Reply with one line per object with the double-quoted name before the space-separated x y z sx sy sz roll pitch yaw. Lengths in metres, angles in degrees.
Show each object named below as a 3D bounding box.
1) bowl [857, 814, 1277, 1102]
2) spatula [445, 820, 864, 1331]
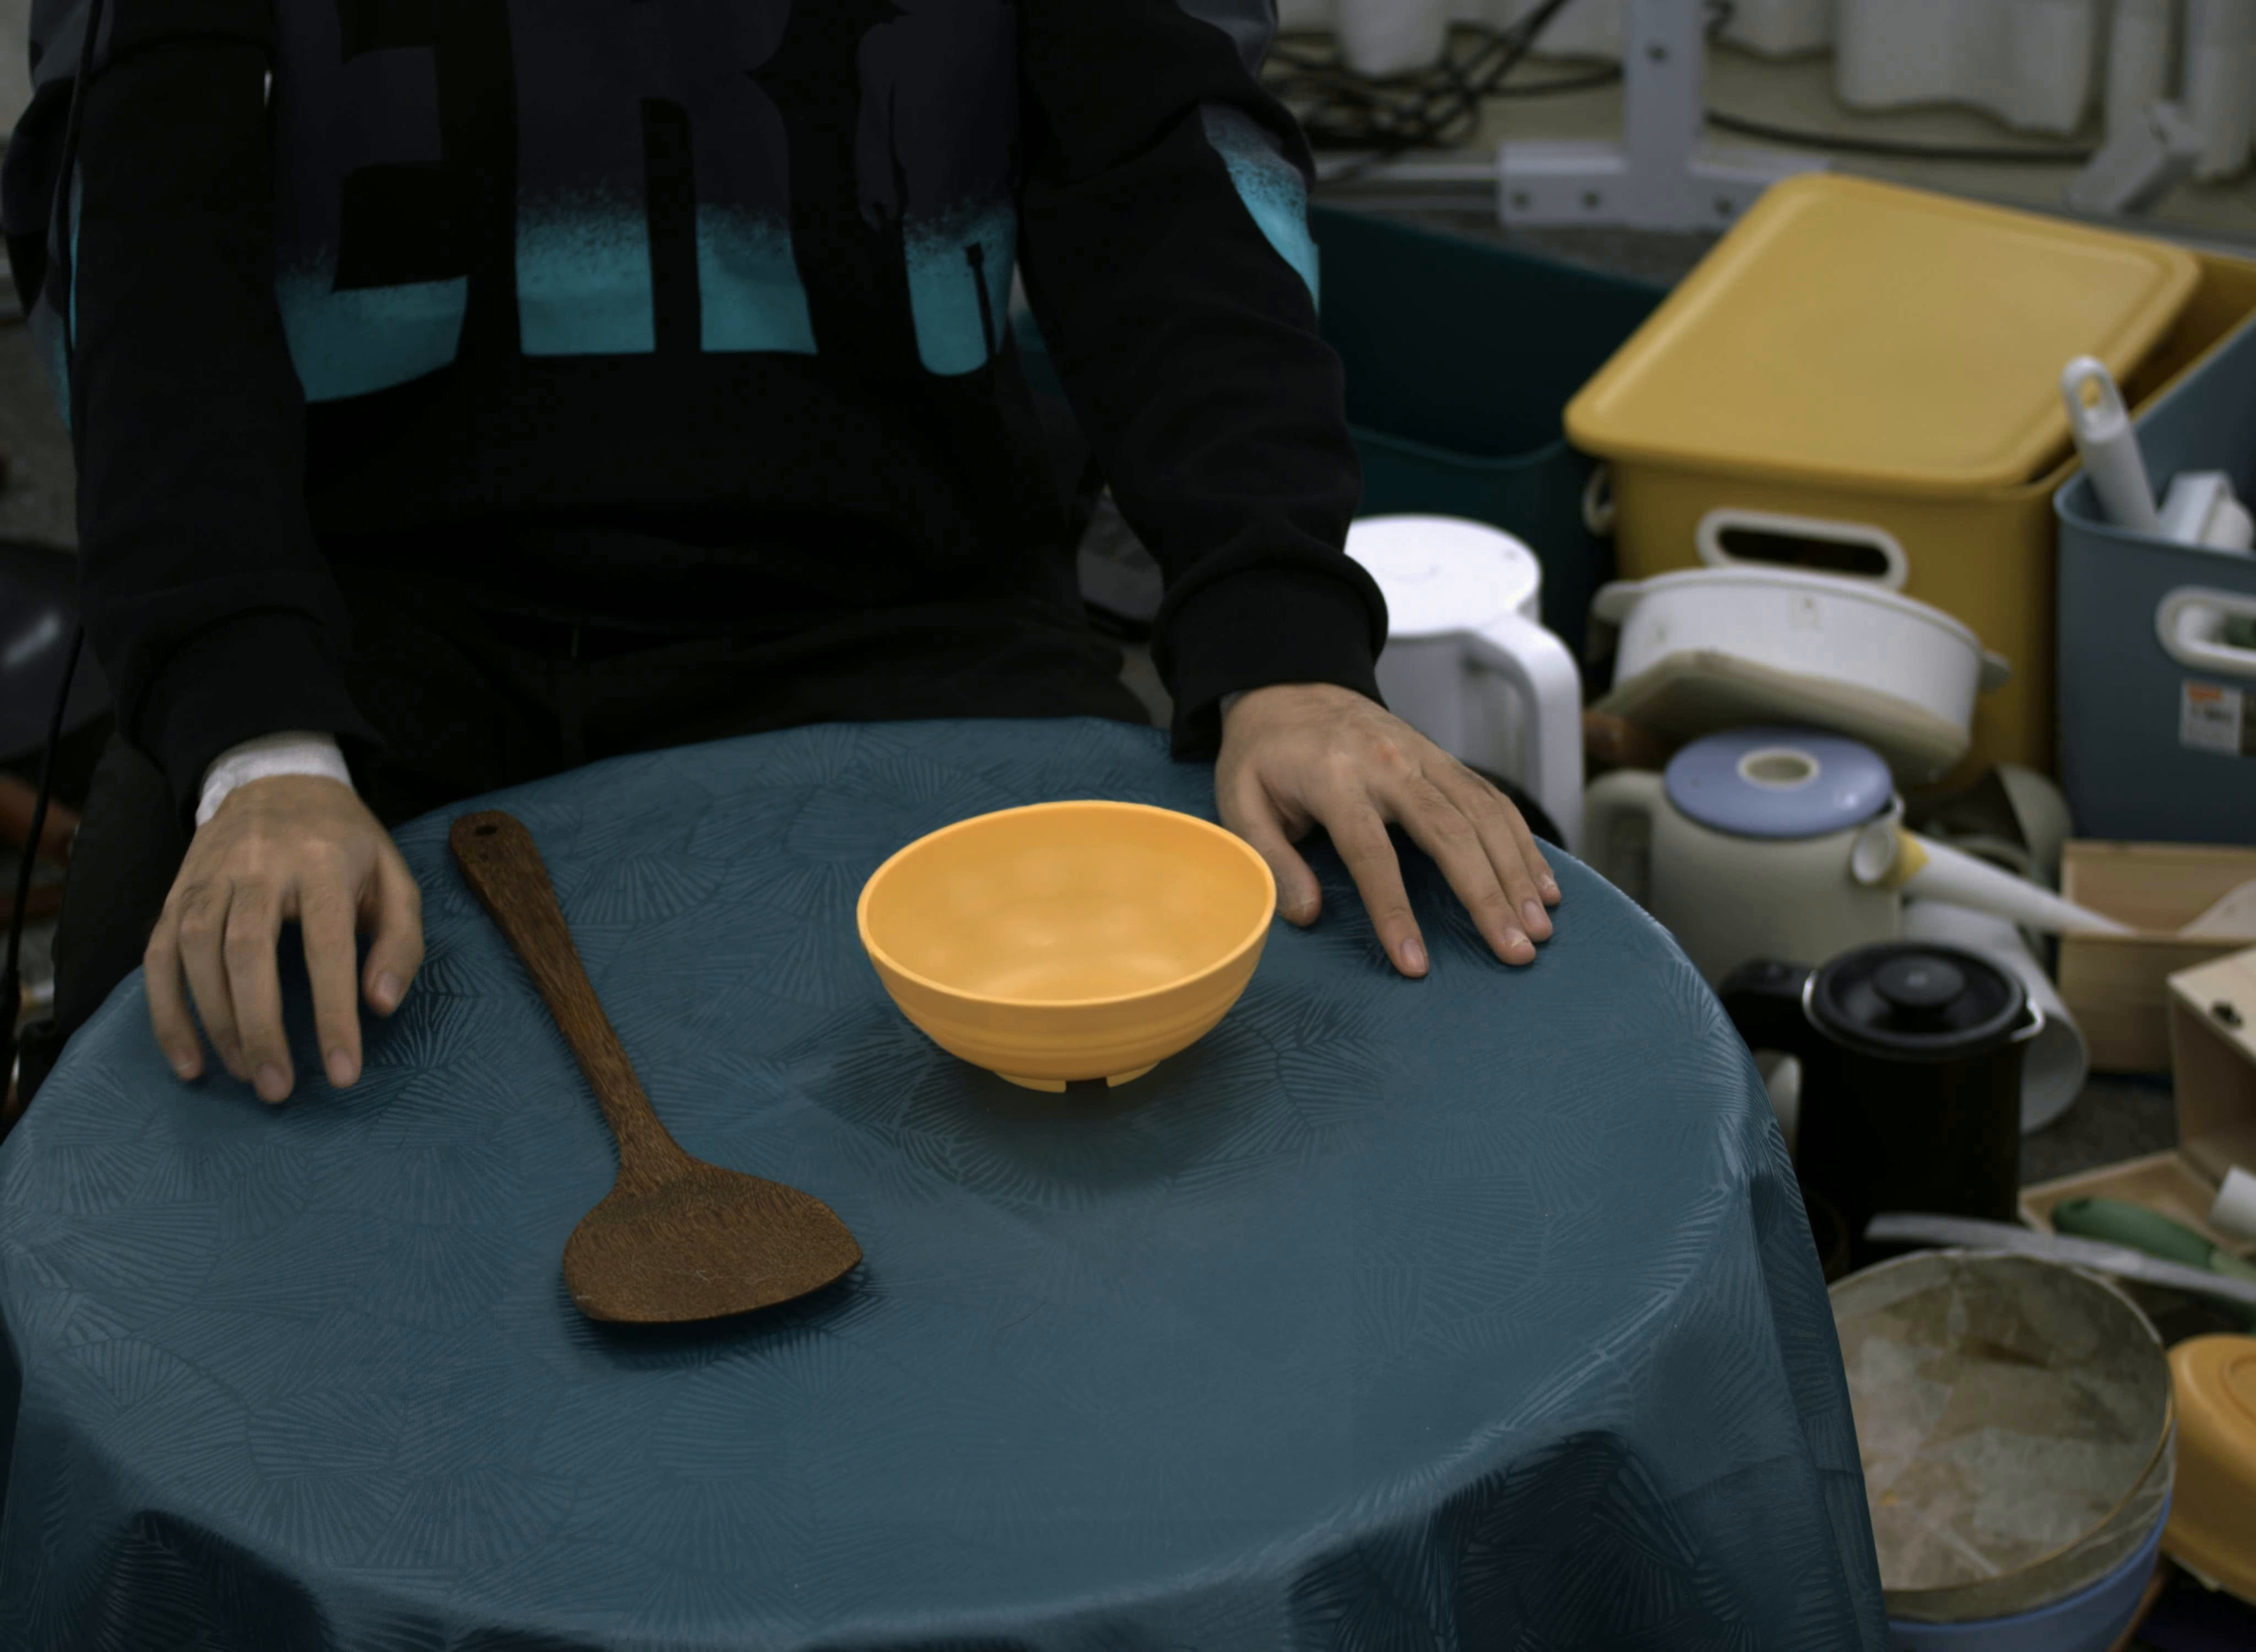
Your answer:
"bowl" -0.021 0.053 1.937 0.144 0.059 0.147 0 25 1
"spatula" -0.185 0.078 1.950 0.096 0.015 0.389 -11 28 -16
